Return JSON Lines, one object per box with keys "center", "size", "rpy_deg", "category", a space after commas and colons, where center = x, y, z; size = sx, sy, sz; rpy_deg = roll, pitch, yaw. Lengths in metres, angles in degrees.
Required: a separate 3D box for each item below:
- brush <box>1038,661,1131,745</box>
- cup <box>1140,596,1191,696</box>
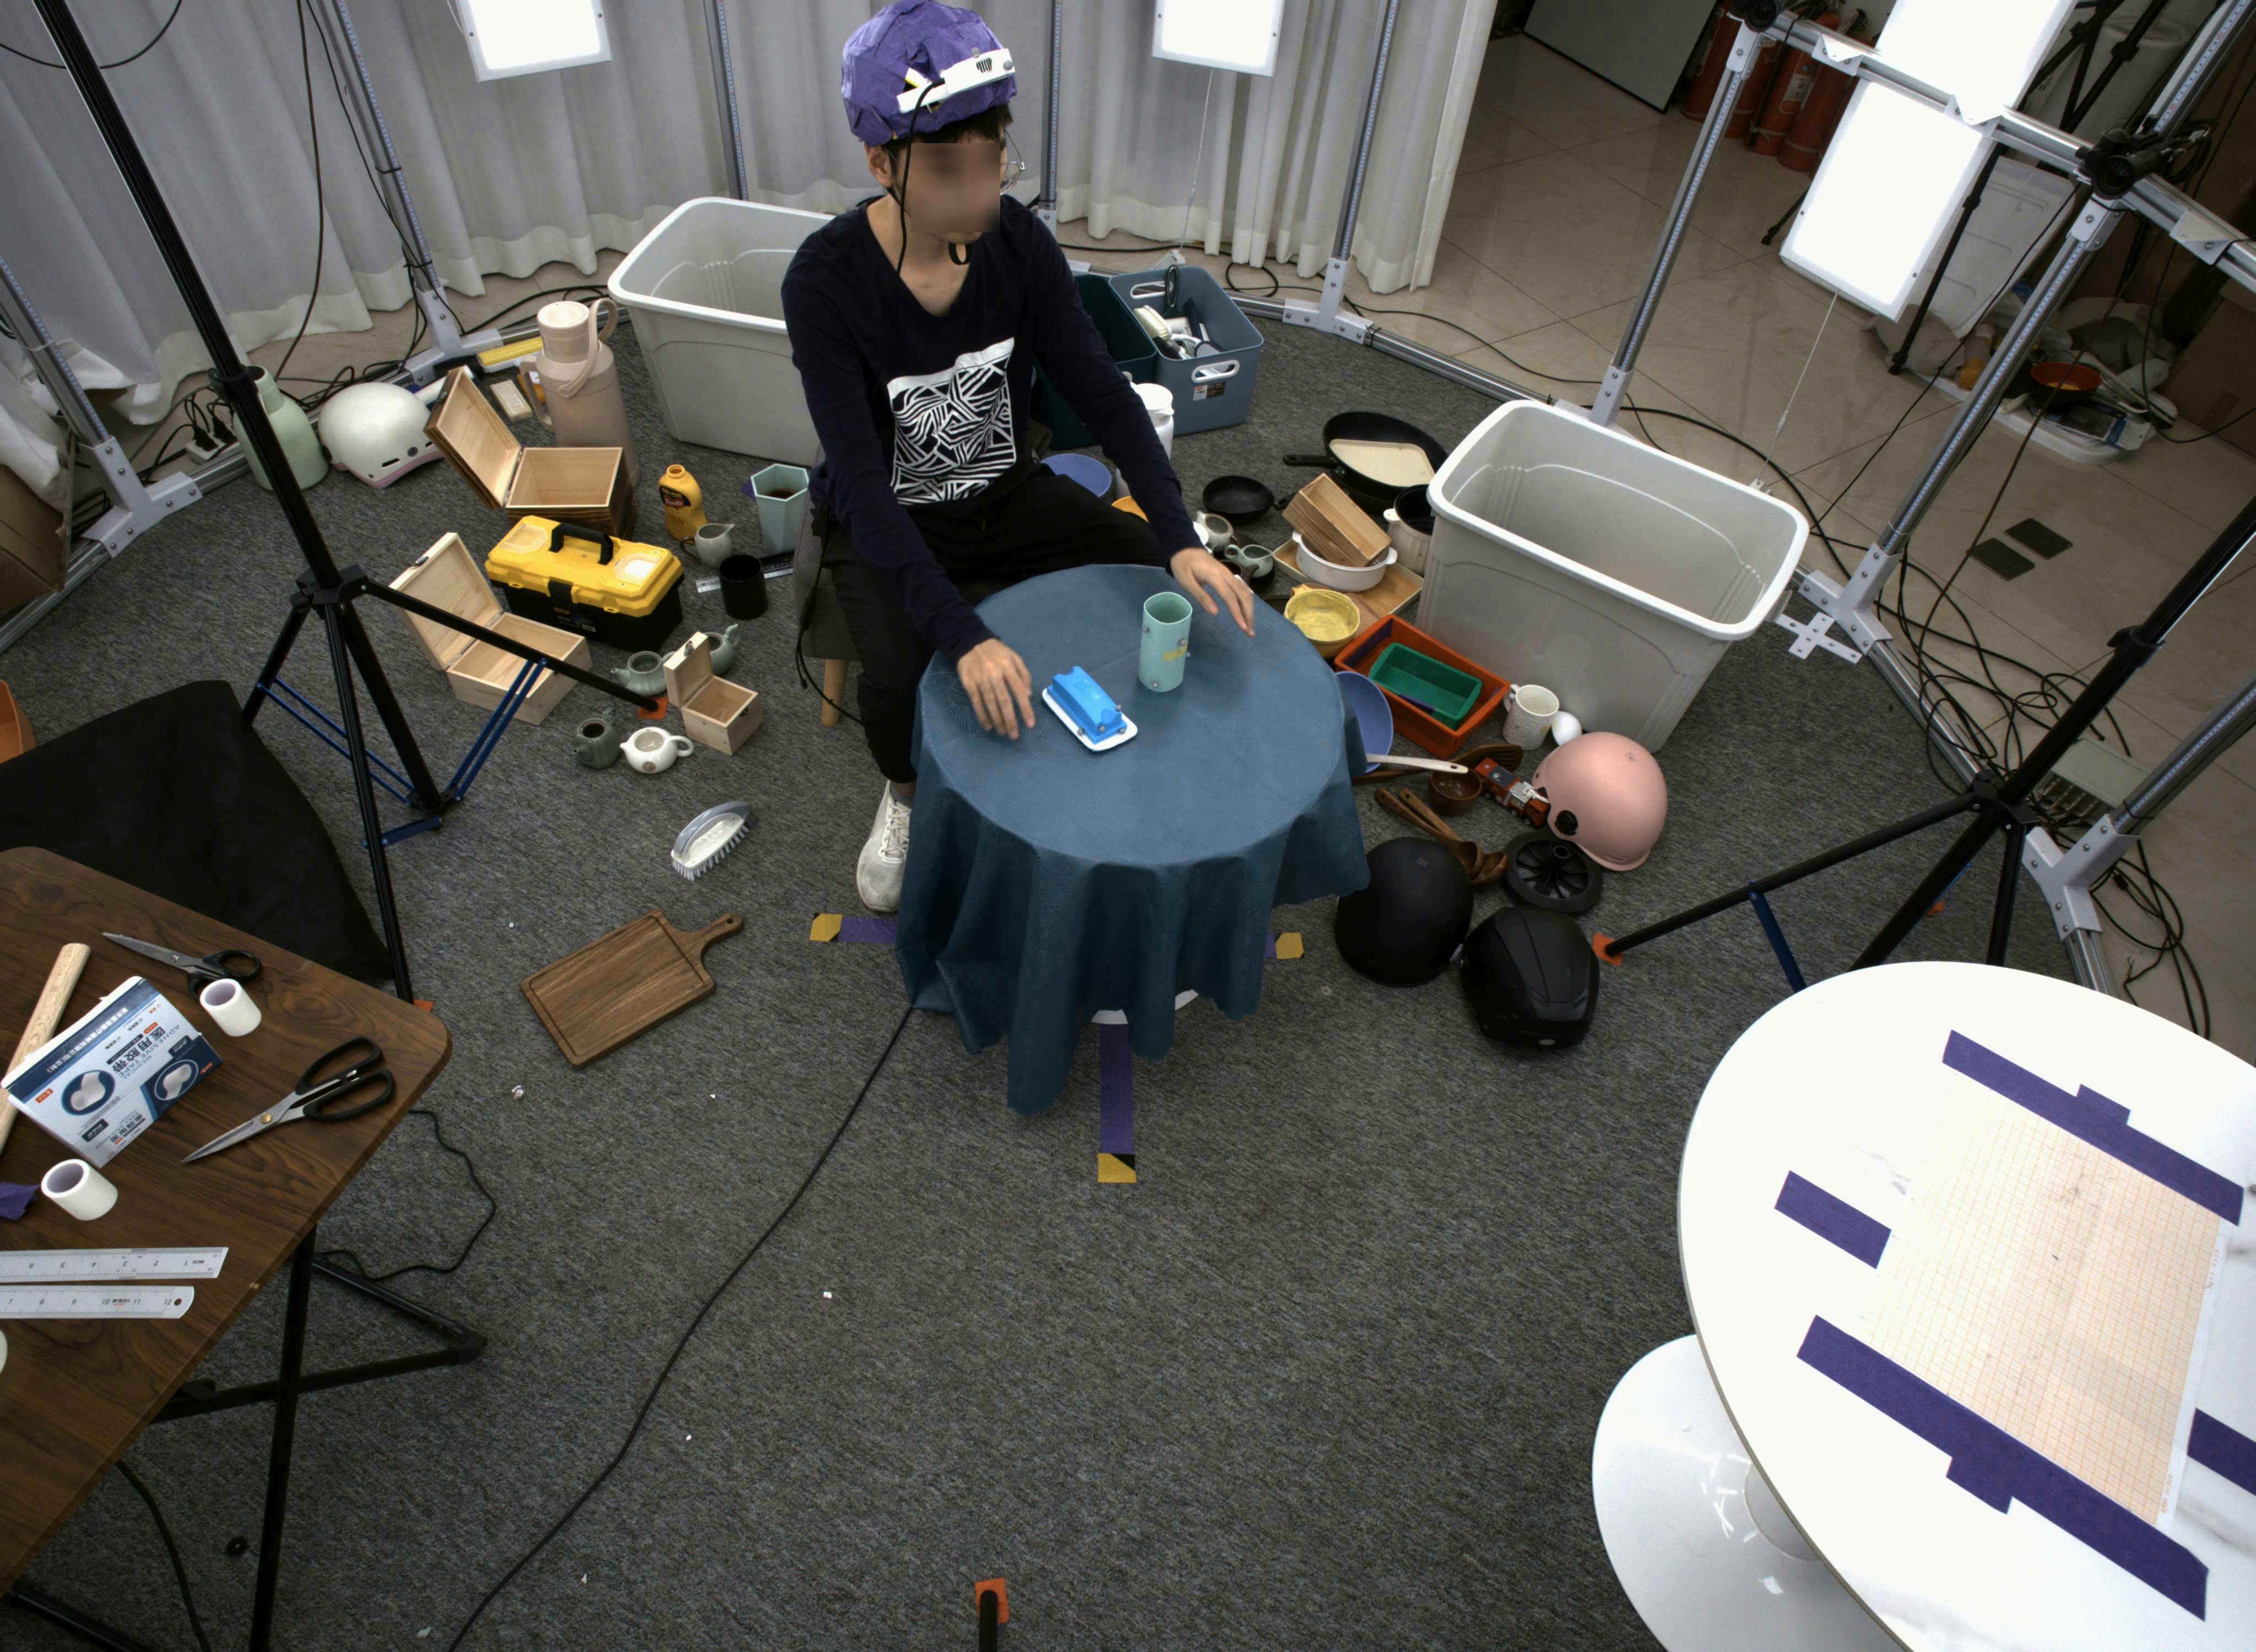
{"center": [-0.058, -0.177, 1.778], "size": [0.084, 0.054, 0.147], "rpy_deg": [-22, 56, -25], "category": "brush"}
{"center": [0.050, -0.255, 1.815], "size": [0.066, 0.129, 0.068], "rpy_deg": [1, 48, -2], "category": "cup"}
